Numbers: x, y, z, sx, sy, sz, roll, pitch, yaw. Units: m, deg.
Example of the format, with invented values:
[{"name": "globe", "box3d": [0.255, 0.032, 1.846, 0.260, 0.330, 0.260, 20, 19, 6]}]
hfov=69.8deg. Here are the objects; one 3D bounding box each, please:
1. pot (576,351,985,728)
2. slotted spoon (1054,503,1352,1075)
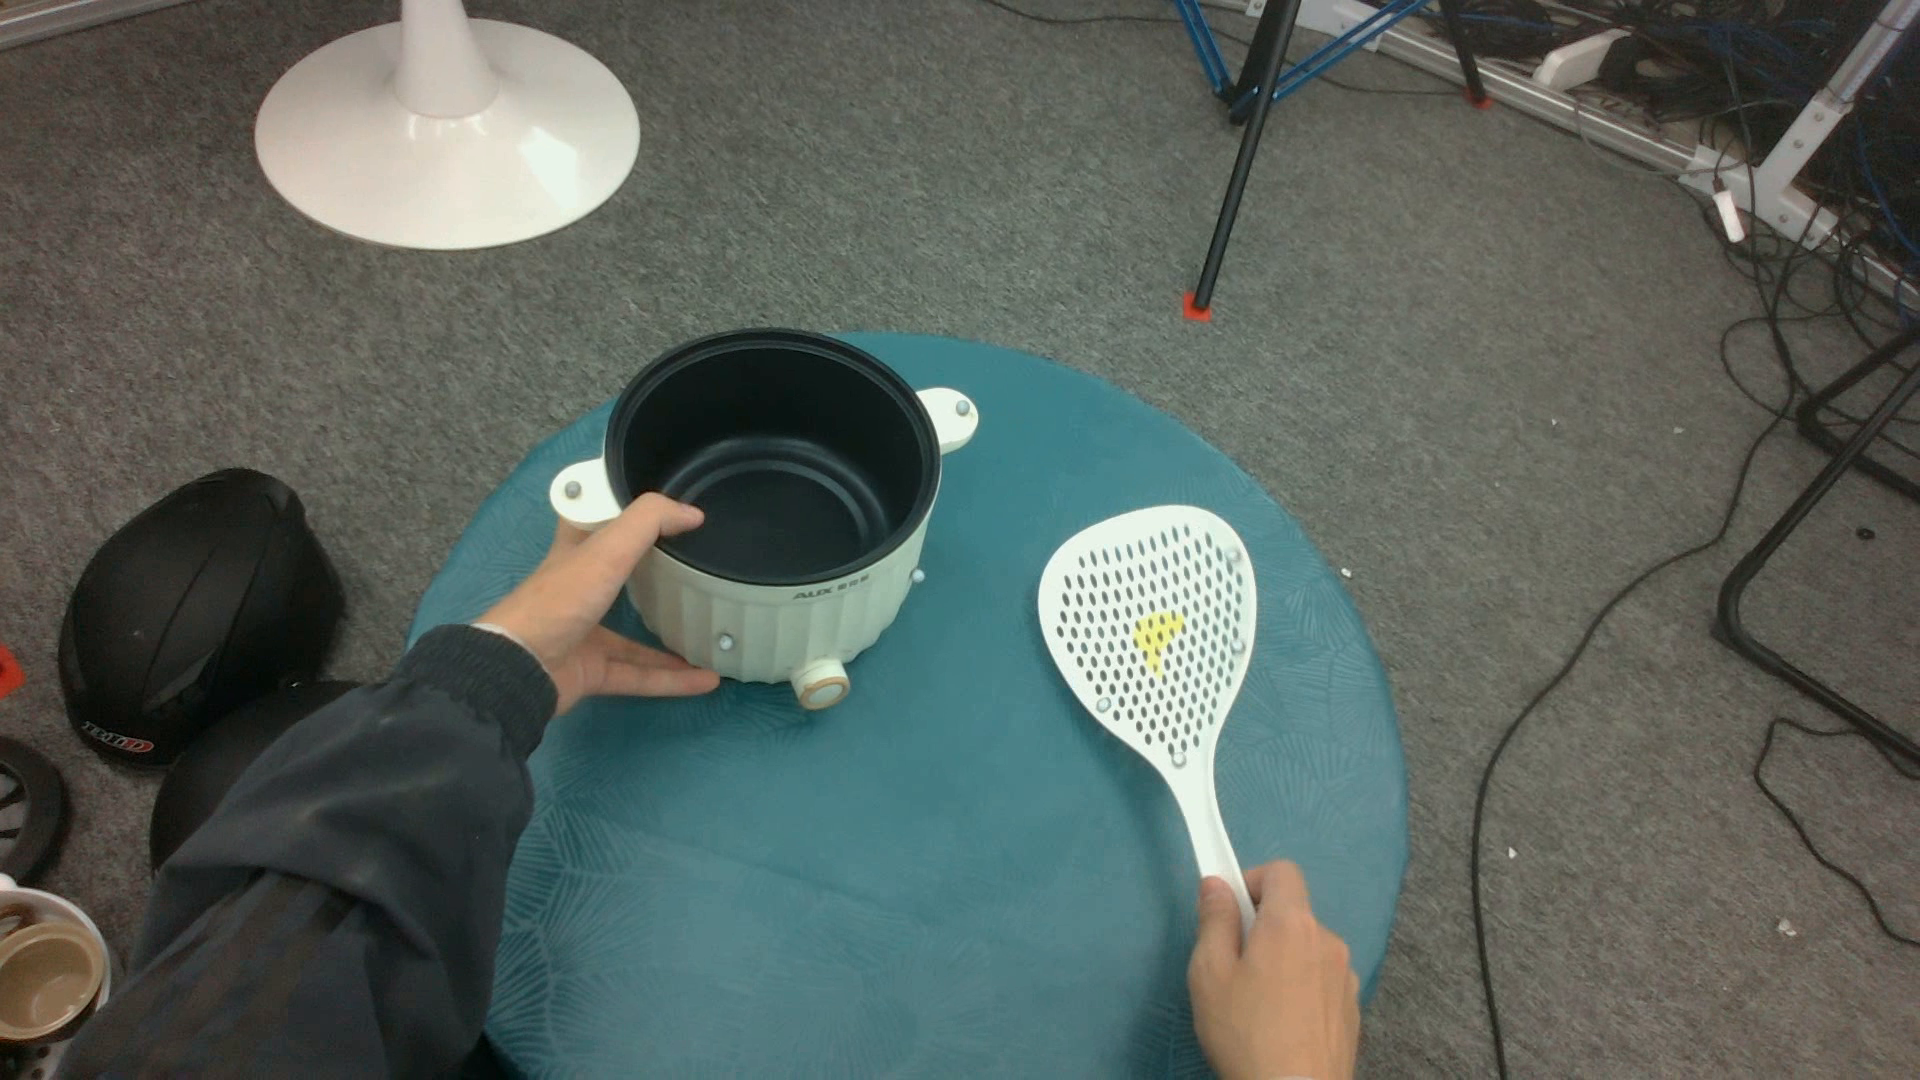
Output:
[{"name": "pot", "box3d": [-0.097, 0.005, 0.812, 0.241, 0.142, 0.191, -18, 54, -19]}, {"name": "slotted spoon", "box3d": [0.151, 0.131, 0.799, 0.136, 0.050, 0.349, -20, 52, 9]}]
